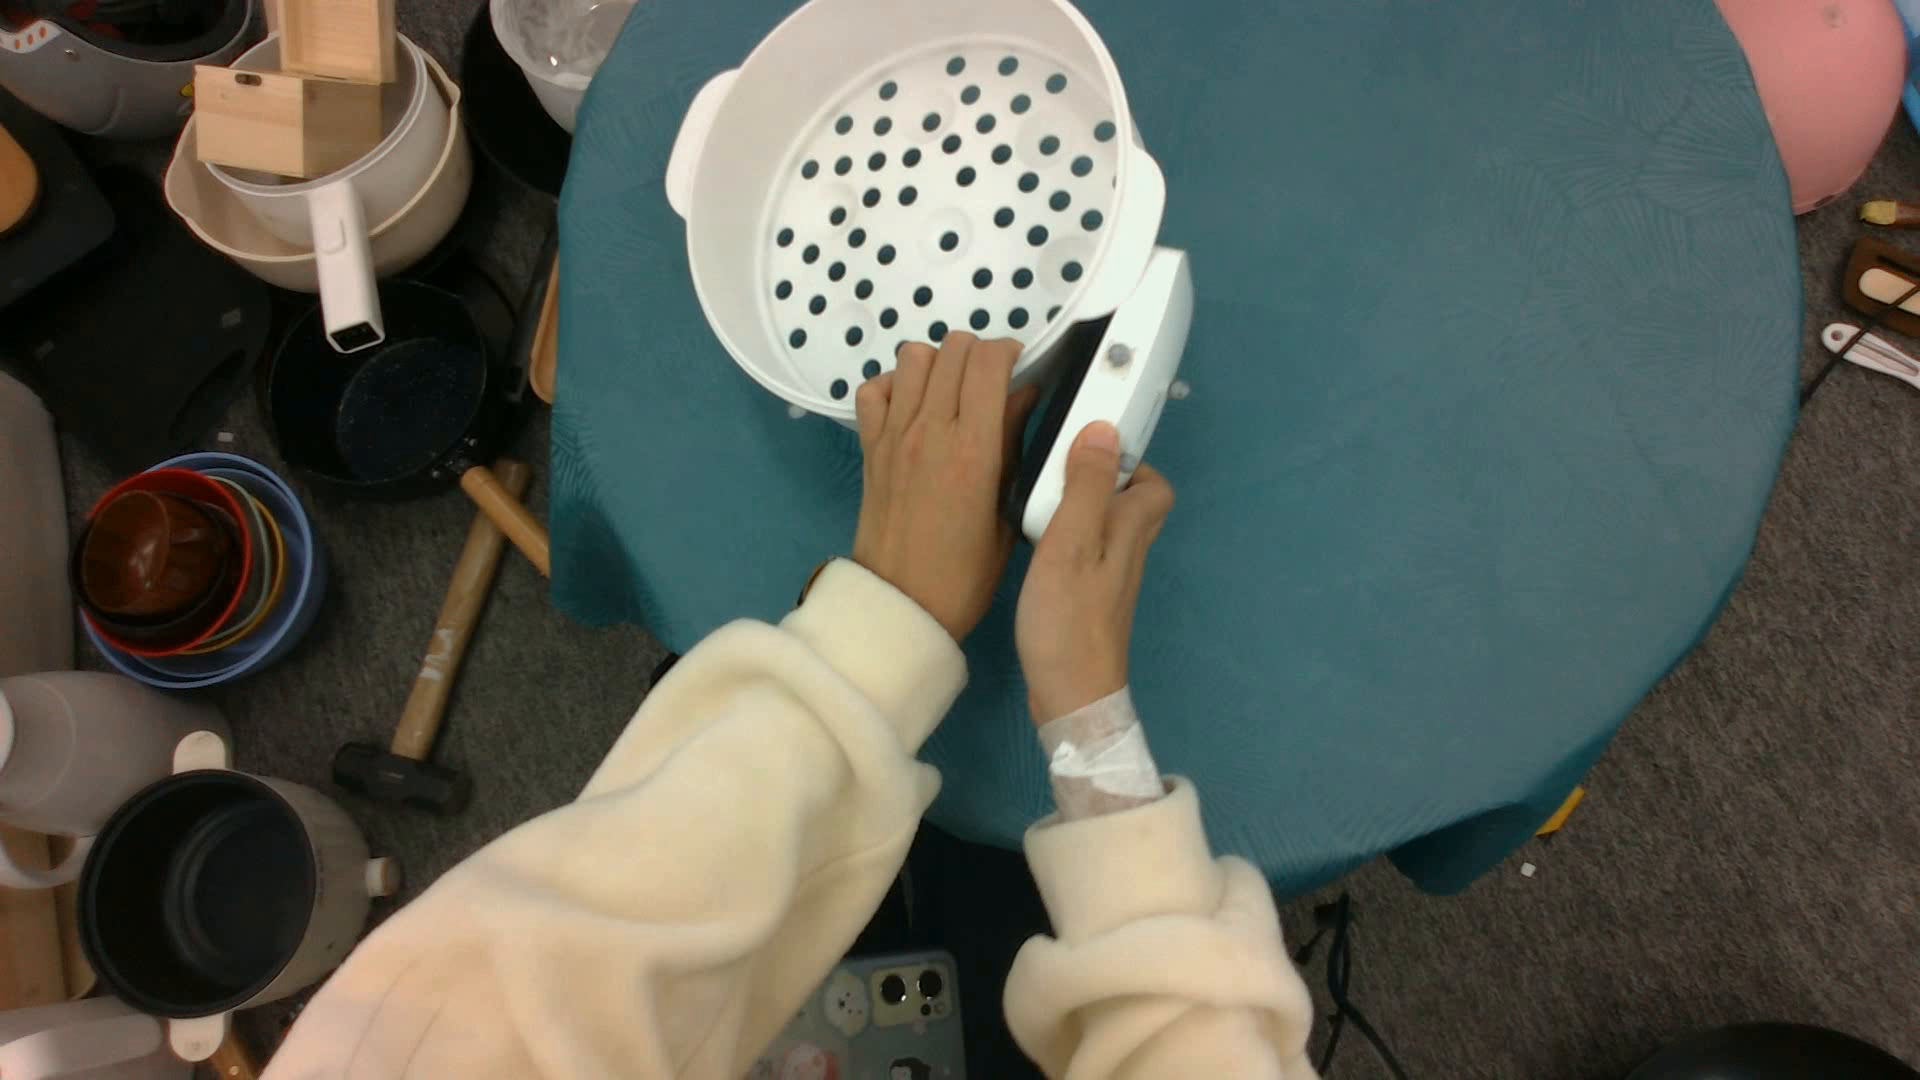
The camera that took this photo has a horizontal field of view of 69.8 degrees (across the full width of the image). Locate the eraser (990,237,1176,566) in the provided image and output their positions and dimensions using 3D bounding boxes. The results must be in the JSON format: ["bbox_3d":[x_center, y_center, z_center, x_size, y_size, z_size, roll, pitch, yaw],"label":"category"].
[{"bbox_3d":[0.054,-0.056,0.550,0.034,0.063,0.131,21,78,17],"label":"eraser"}]

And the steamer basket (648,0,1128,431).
[{"bbox_3d":[-0.027,-0.146,0.596,0.230,0.069,0.202,18,84,28],"label":"steamer basket"}]
